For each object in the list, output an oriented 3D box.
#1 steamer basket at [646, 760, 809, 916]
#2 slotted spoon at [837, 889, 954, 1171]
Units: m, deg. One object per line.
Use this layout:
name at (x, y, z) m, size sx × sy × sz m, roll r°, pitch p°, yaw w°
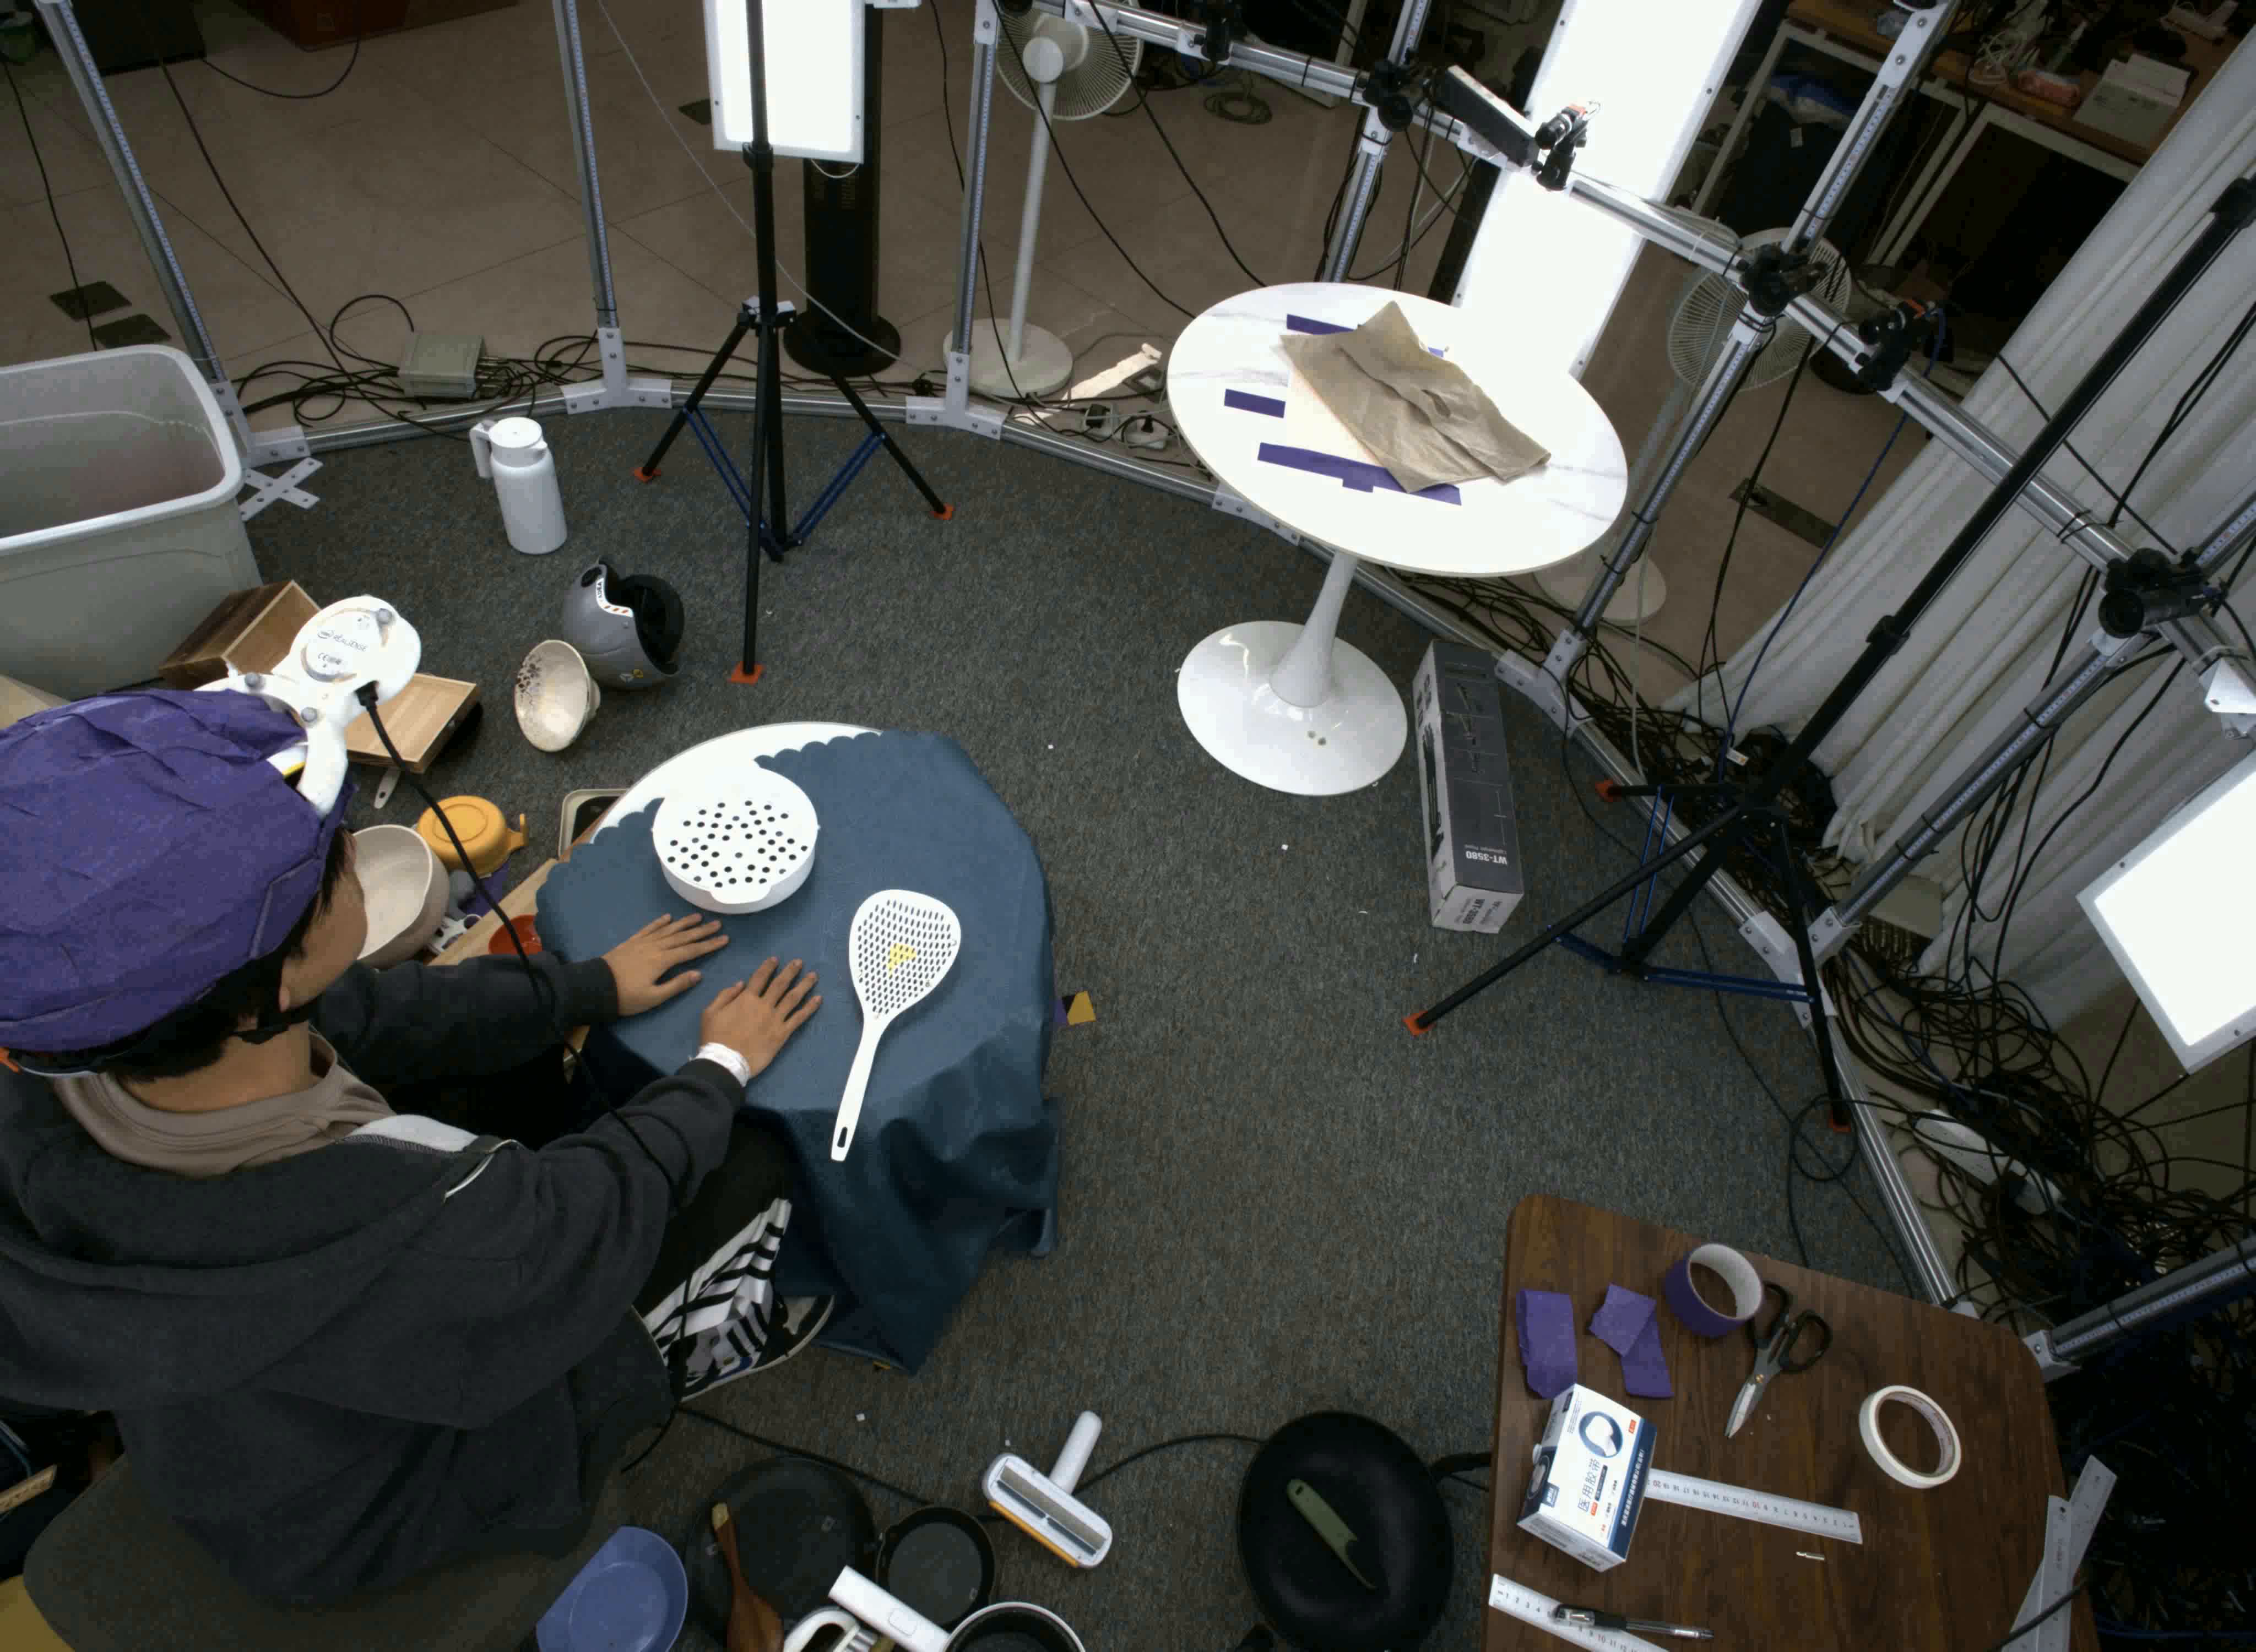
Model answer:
steamer basket at (-0.508, 0.020, 1.649) m, size 0.202 × 0.071 × 0.225 m, roll -6°, pitch 53°, yaw -17°
slotted spoon at (-0.306, 0.236, 1.567) m, size 0.137 × 0.051 × 0.343 m, roll 16°, pitch 57°, yaw -8°
